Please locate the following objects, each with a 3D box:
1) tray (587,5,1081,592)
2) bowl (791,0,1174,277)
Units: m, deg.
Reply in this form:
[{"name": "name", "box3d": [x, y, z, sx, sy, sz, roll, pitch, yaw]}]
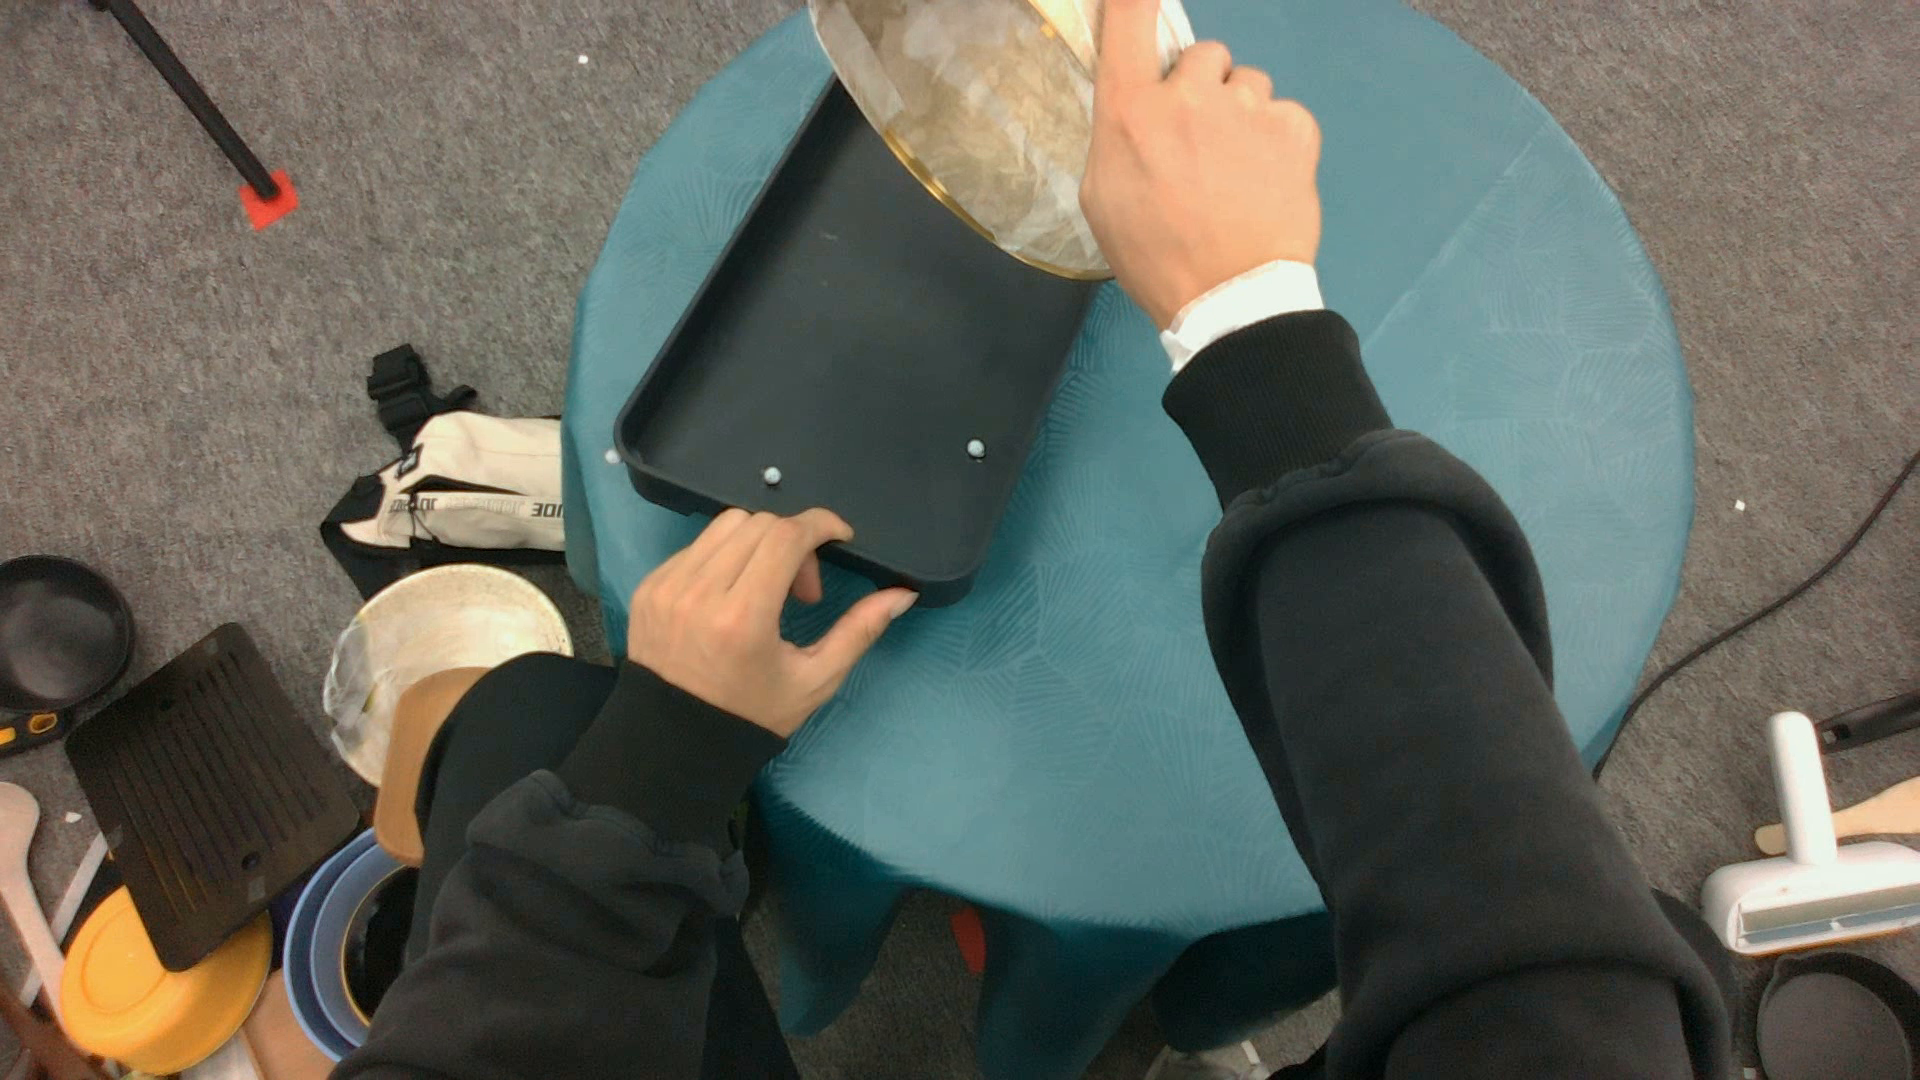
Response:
[{"name": "tray", "box3d": [-0.037, -0.136, 0.705, 0.184, 0.037, 0.319, 22, 62, 4]}, {"name": "bowl", "box3d": [0.024, -0.224, 0.615, 0.215, 0.214, 0.095, 40, 76, 13]}]
